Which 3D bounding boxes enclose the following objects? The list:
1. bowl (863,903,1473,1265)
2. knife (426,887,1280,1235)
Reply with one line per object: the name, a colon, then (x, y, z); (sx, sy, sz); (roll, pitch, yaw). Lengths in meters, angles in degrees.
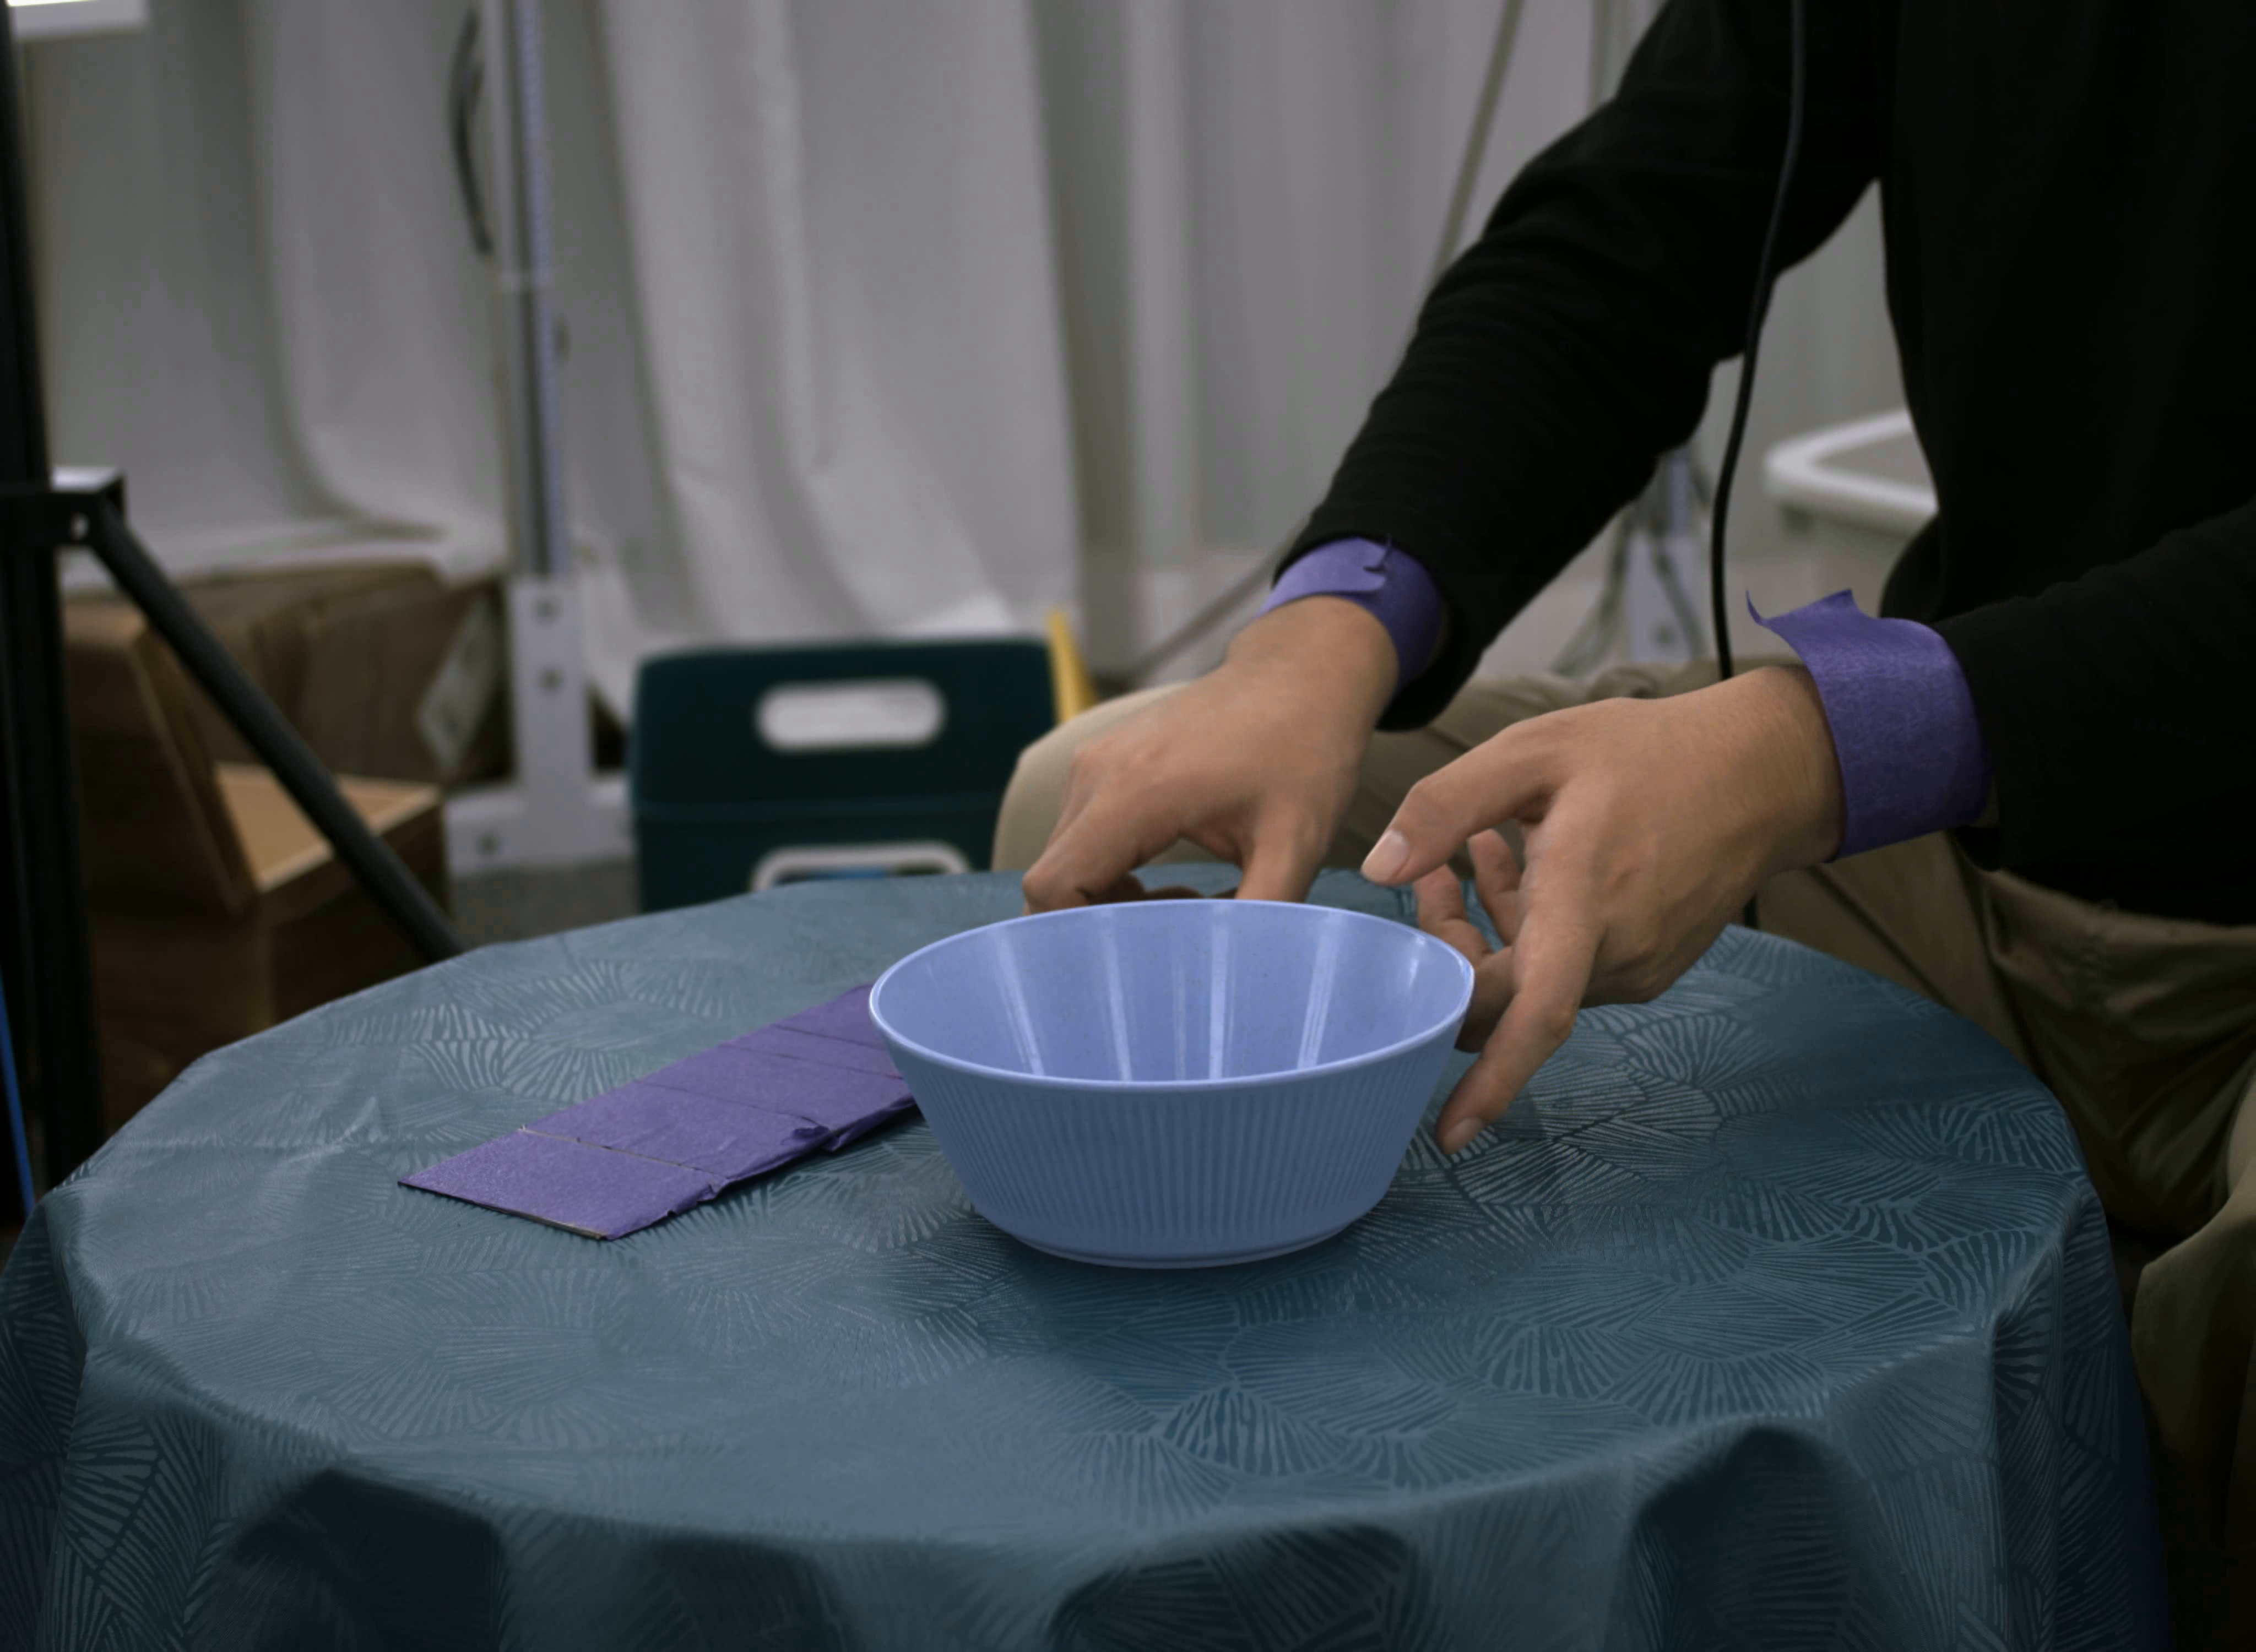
bowl: (0.012, 0.077, 1.533); (0.175, 0.070, 0.177); (-2, 16, -1)
knife: (-0.082, 0.067, 1.665); (0.106, 0.032, 0.308); (12, 22, 41)
